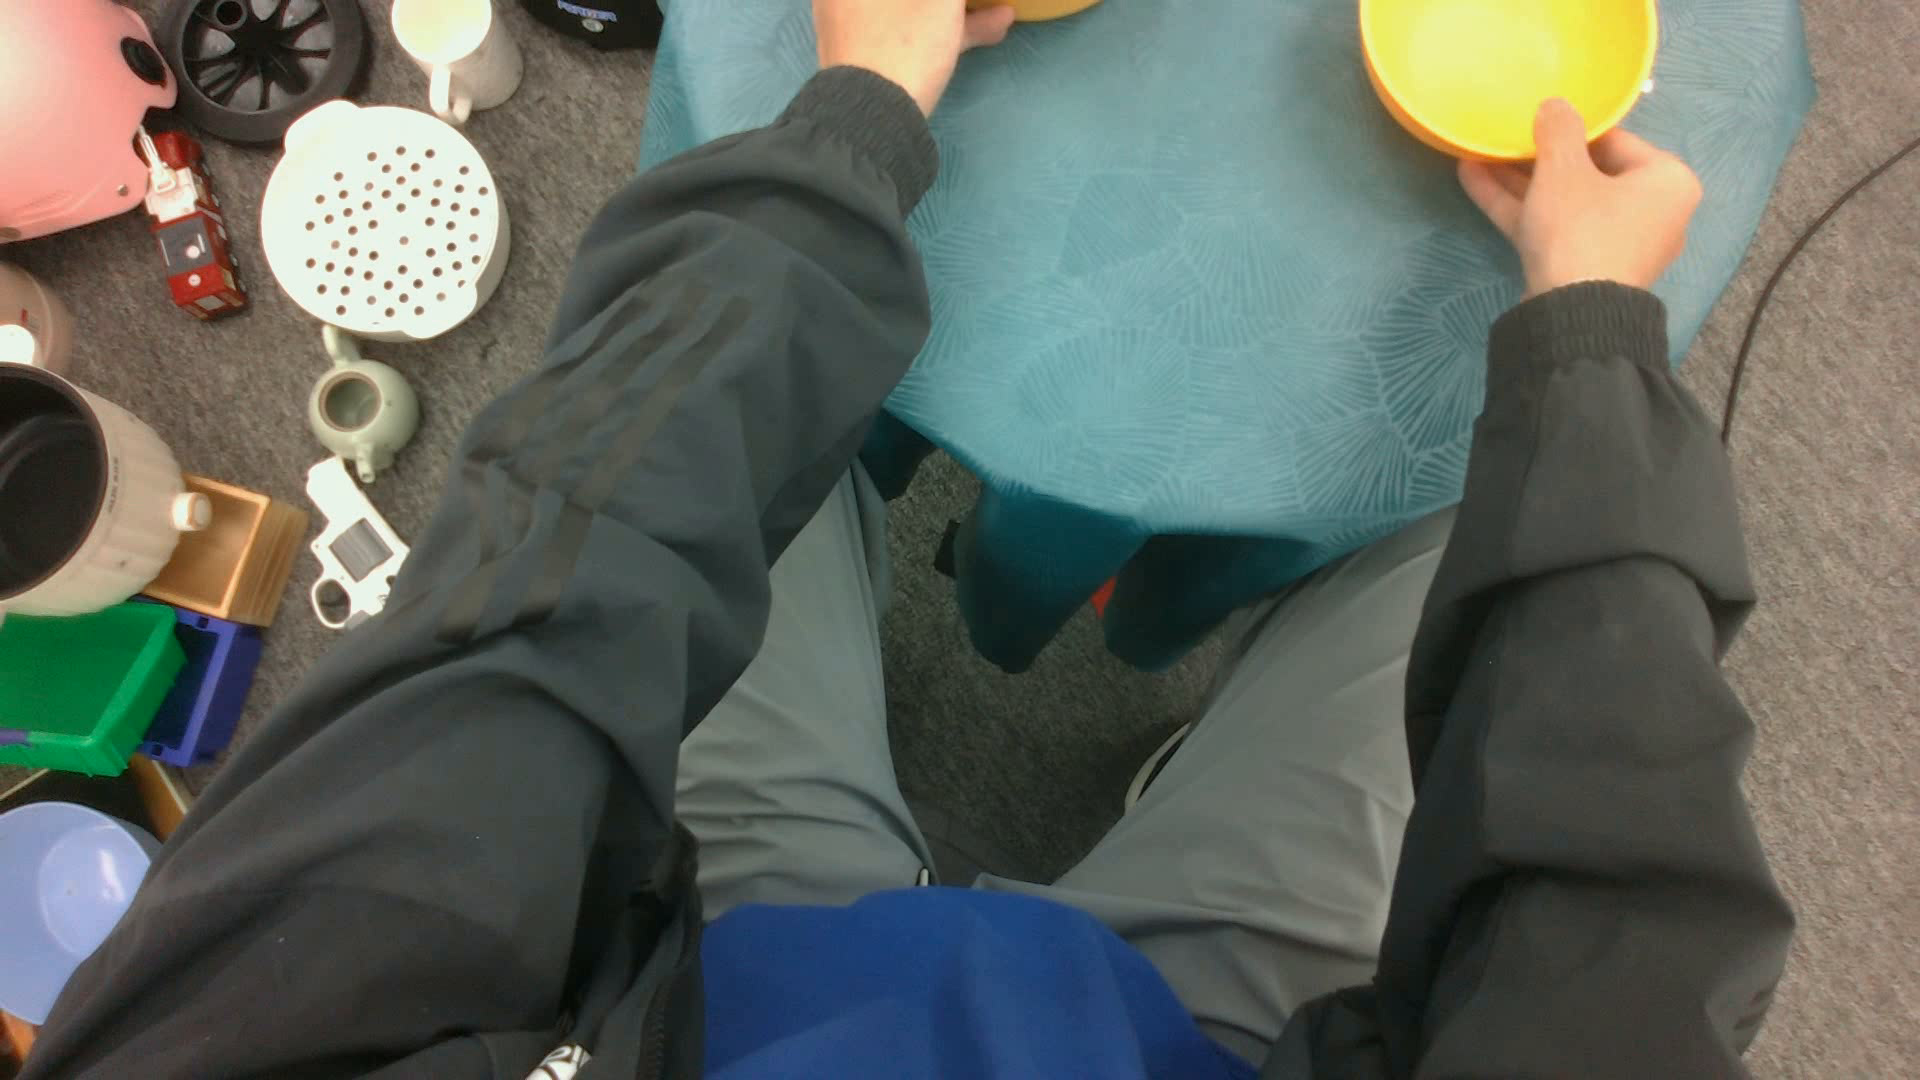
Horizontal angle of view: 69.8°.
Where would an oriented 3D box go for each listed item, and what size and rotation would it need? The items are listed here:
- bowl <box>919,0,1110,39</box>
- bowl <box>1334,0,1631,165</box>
[{"bbox_3d":[0.014,-0.334,0.711,0.179,0.074,0.153,-13,85,-4],"label":"bowl"},{"bbox_3d":[0.259,-0.252,0.708,0.145,0.060,0.145,0,81,1],"label":"bowl"}]
